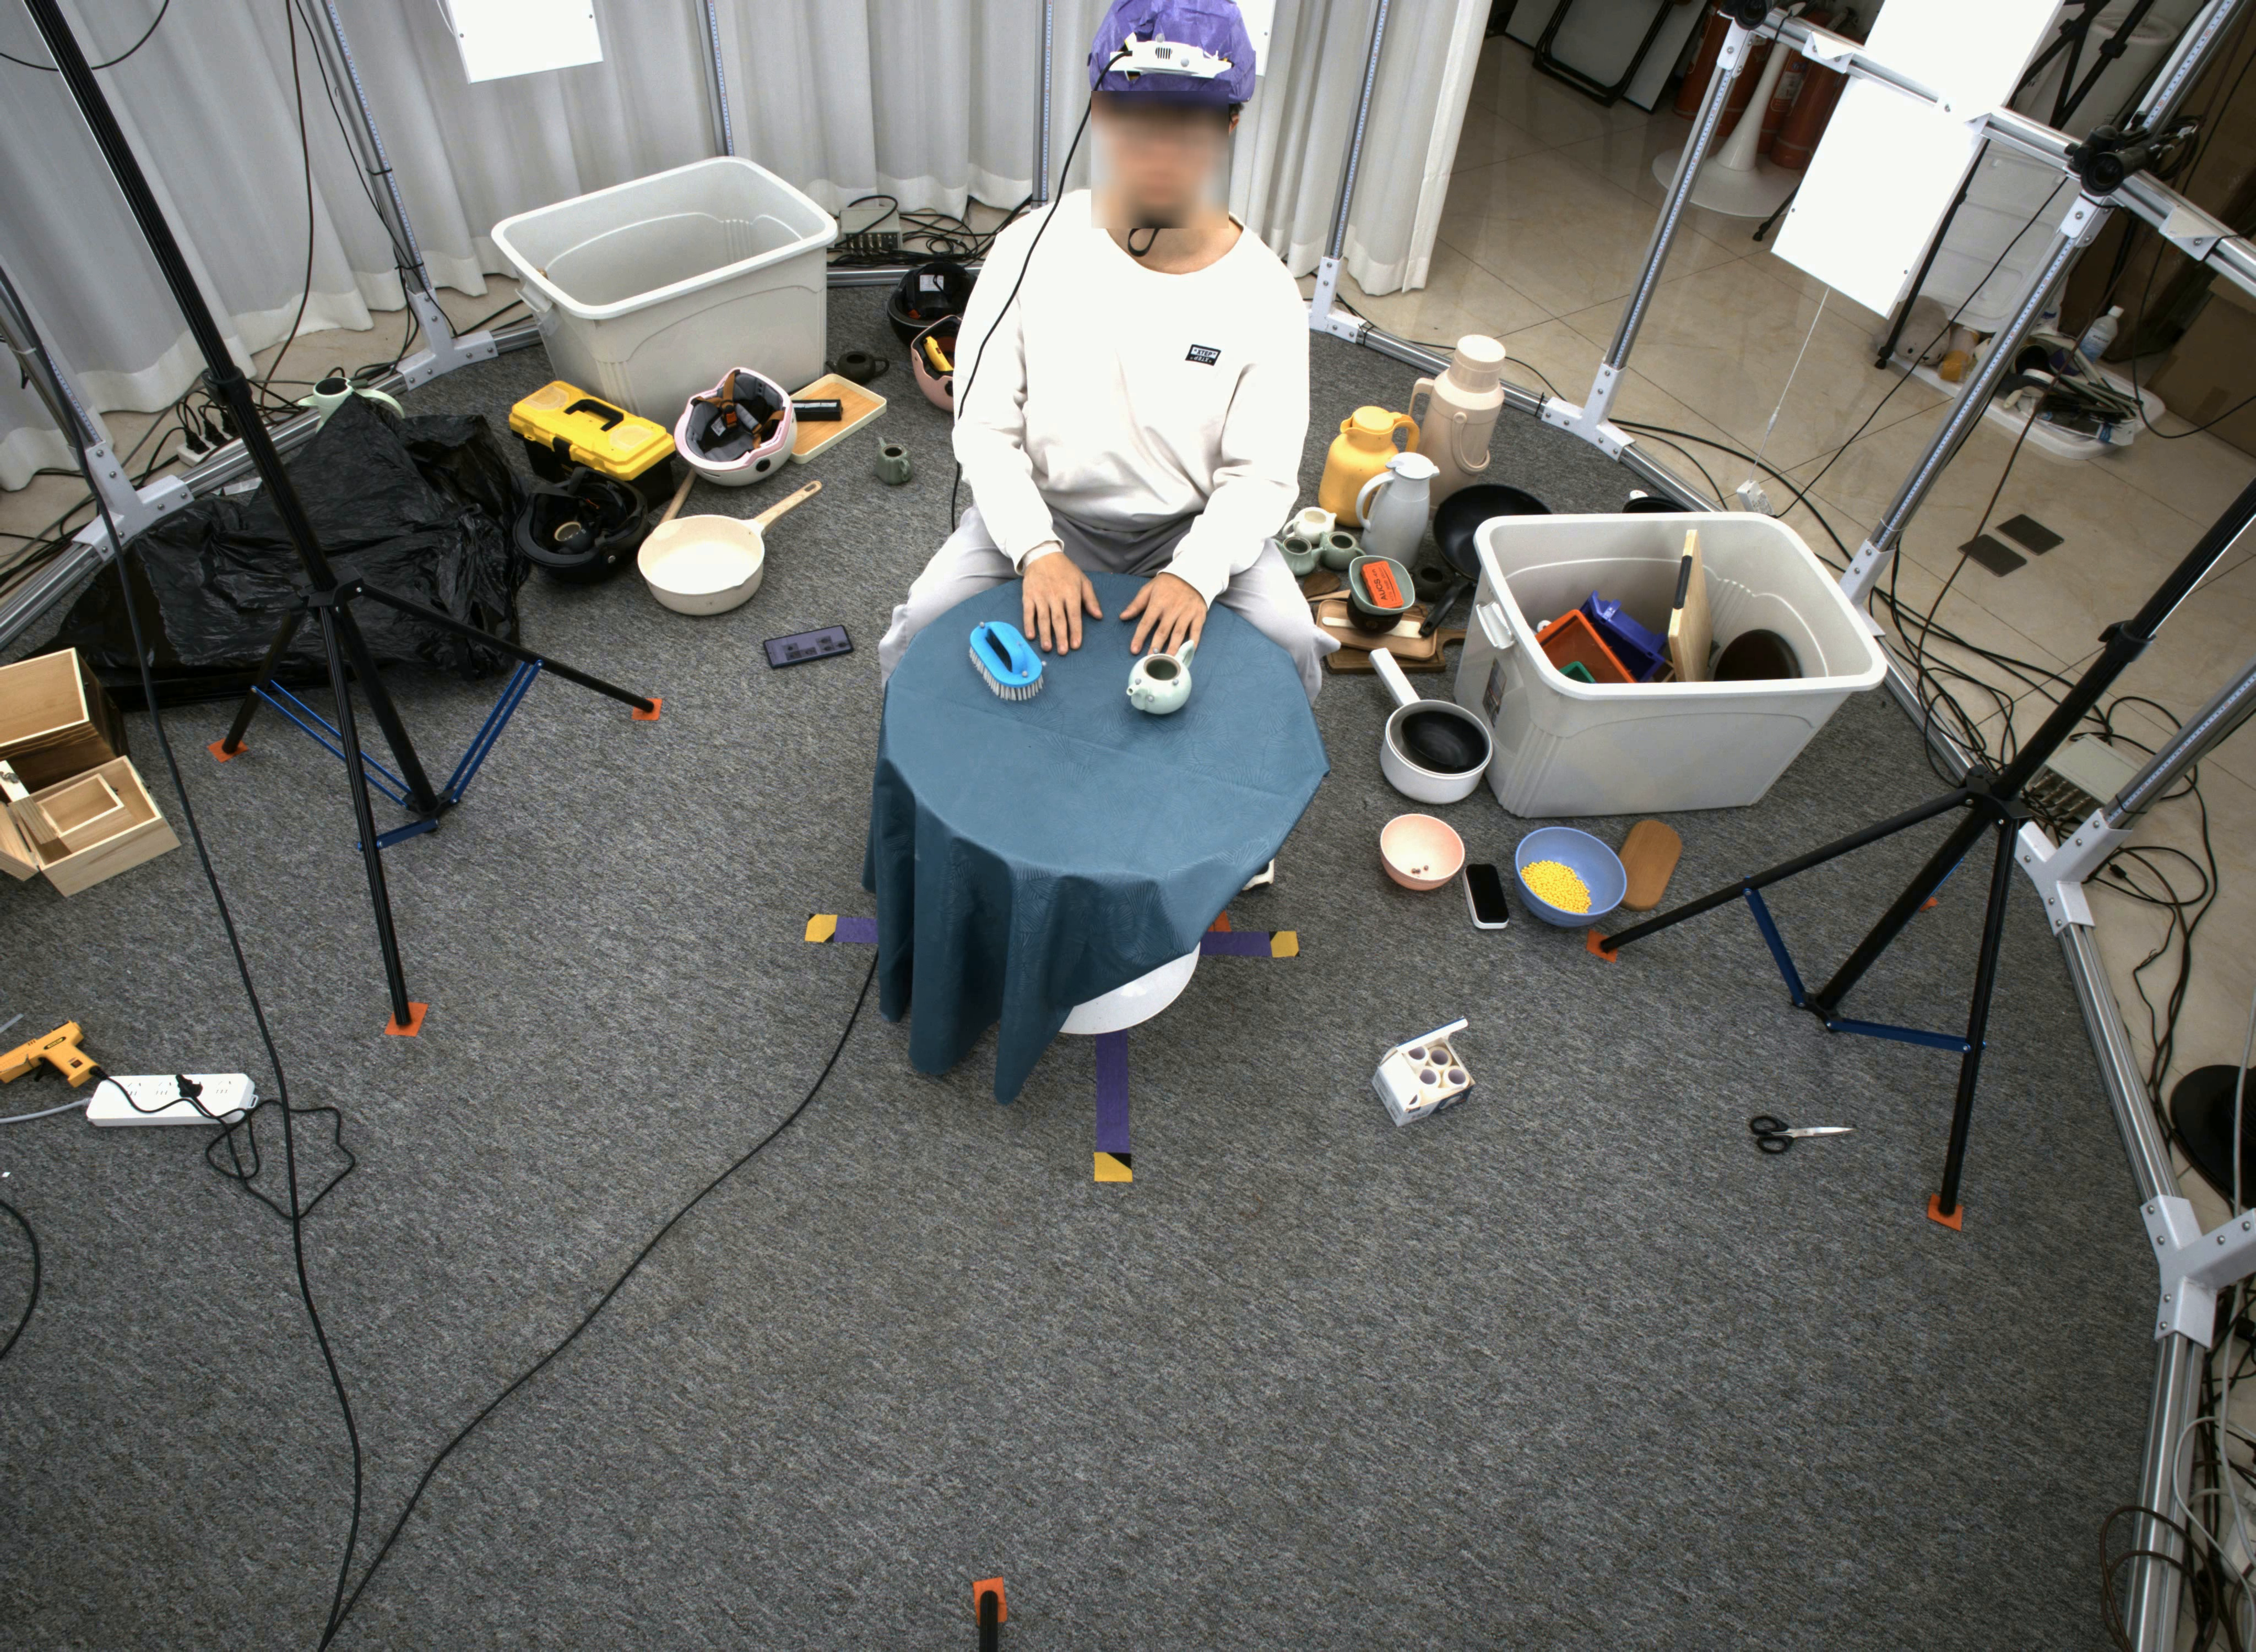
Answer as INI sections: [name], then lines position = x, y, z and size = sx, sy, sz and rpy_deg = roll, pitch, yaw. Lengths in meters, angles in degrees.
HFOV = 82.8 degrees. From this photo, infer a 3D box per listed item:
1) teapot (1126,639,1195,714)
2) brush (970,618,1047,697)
[teapot]
position = 0.046, -0.201, 1.796
size = 0.089, 0.073, 0.145
rpy_deg = 35, 58, 25
[brush]
position = -0.173, -0.250, 1.827
size = 0.084, 0.062, 0.145
rpy_deg = -23, 53, -16
